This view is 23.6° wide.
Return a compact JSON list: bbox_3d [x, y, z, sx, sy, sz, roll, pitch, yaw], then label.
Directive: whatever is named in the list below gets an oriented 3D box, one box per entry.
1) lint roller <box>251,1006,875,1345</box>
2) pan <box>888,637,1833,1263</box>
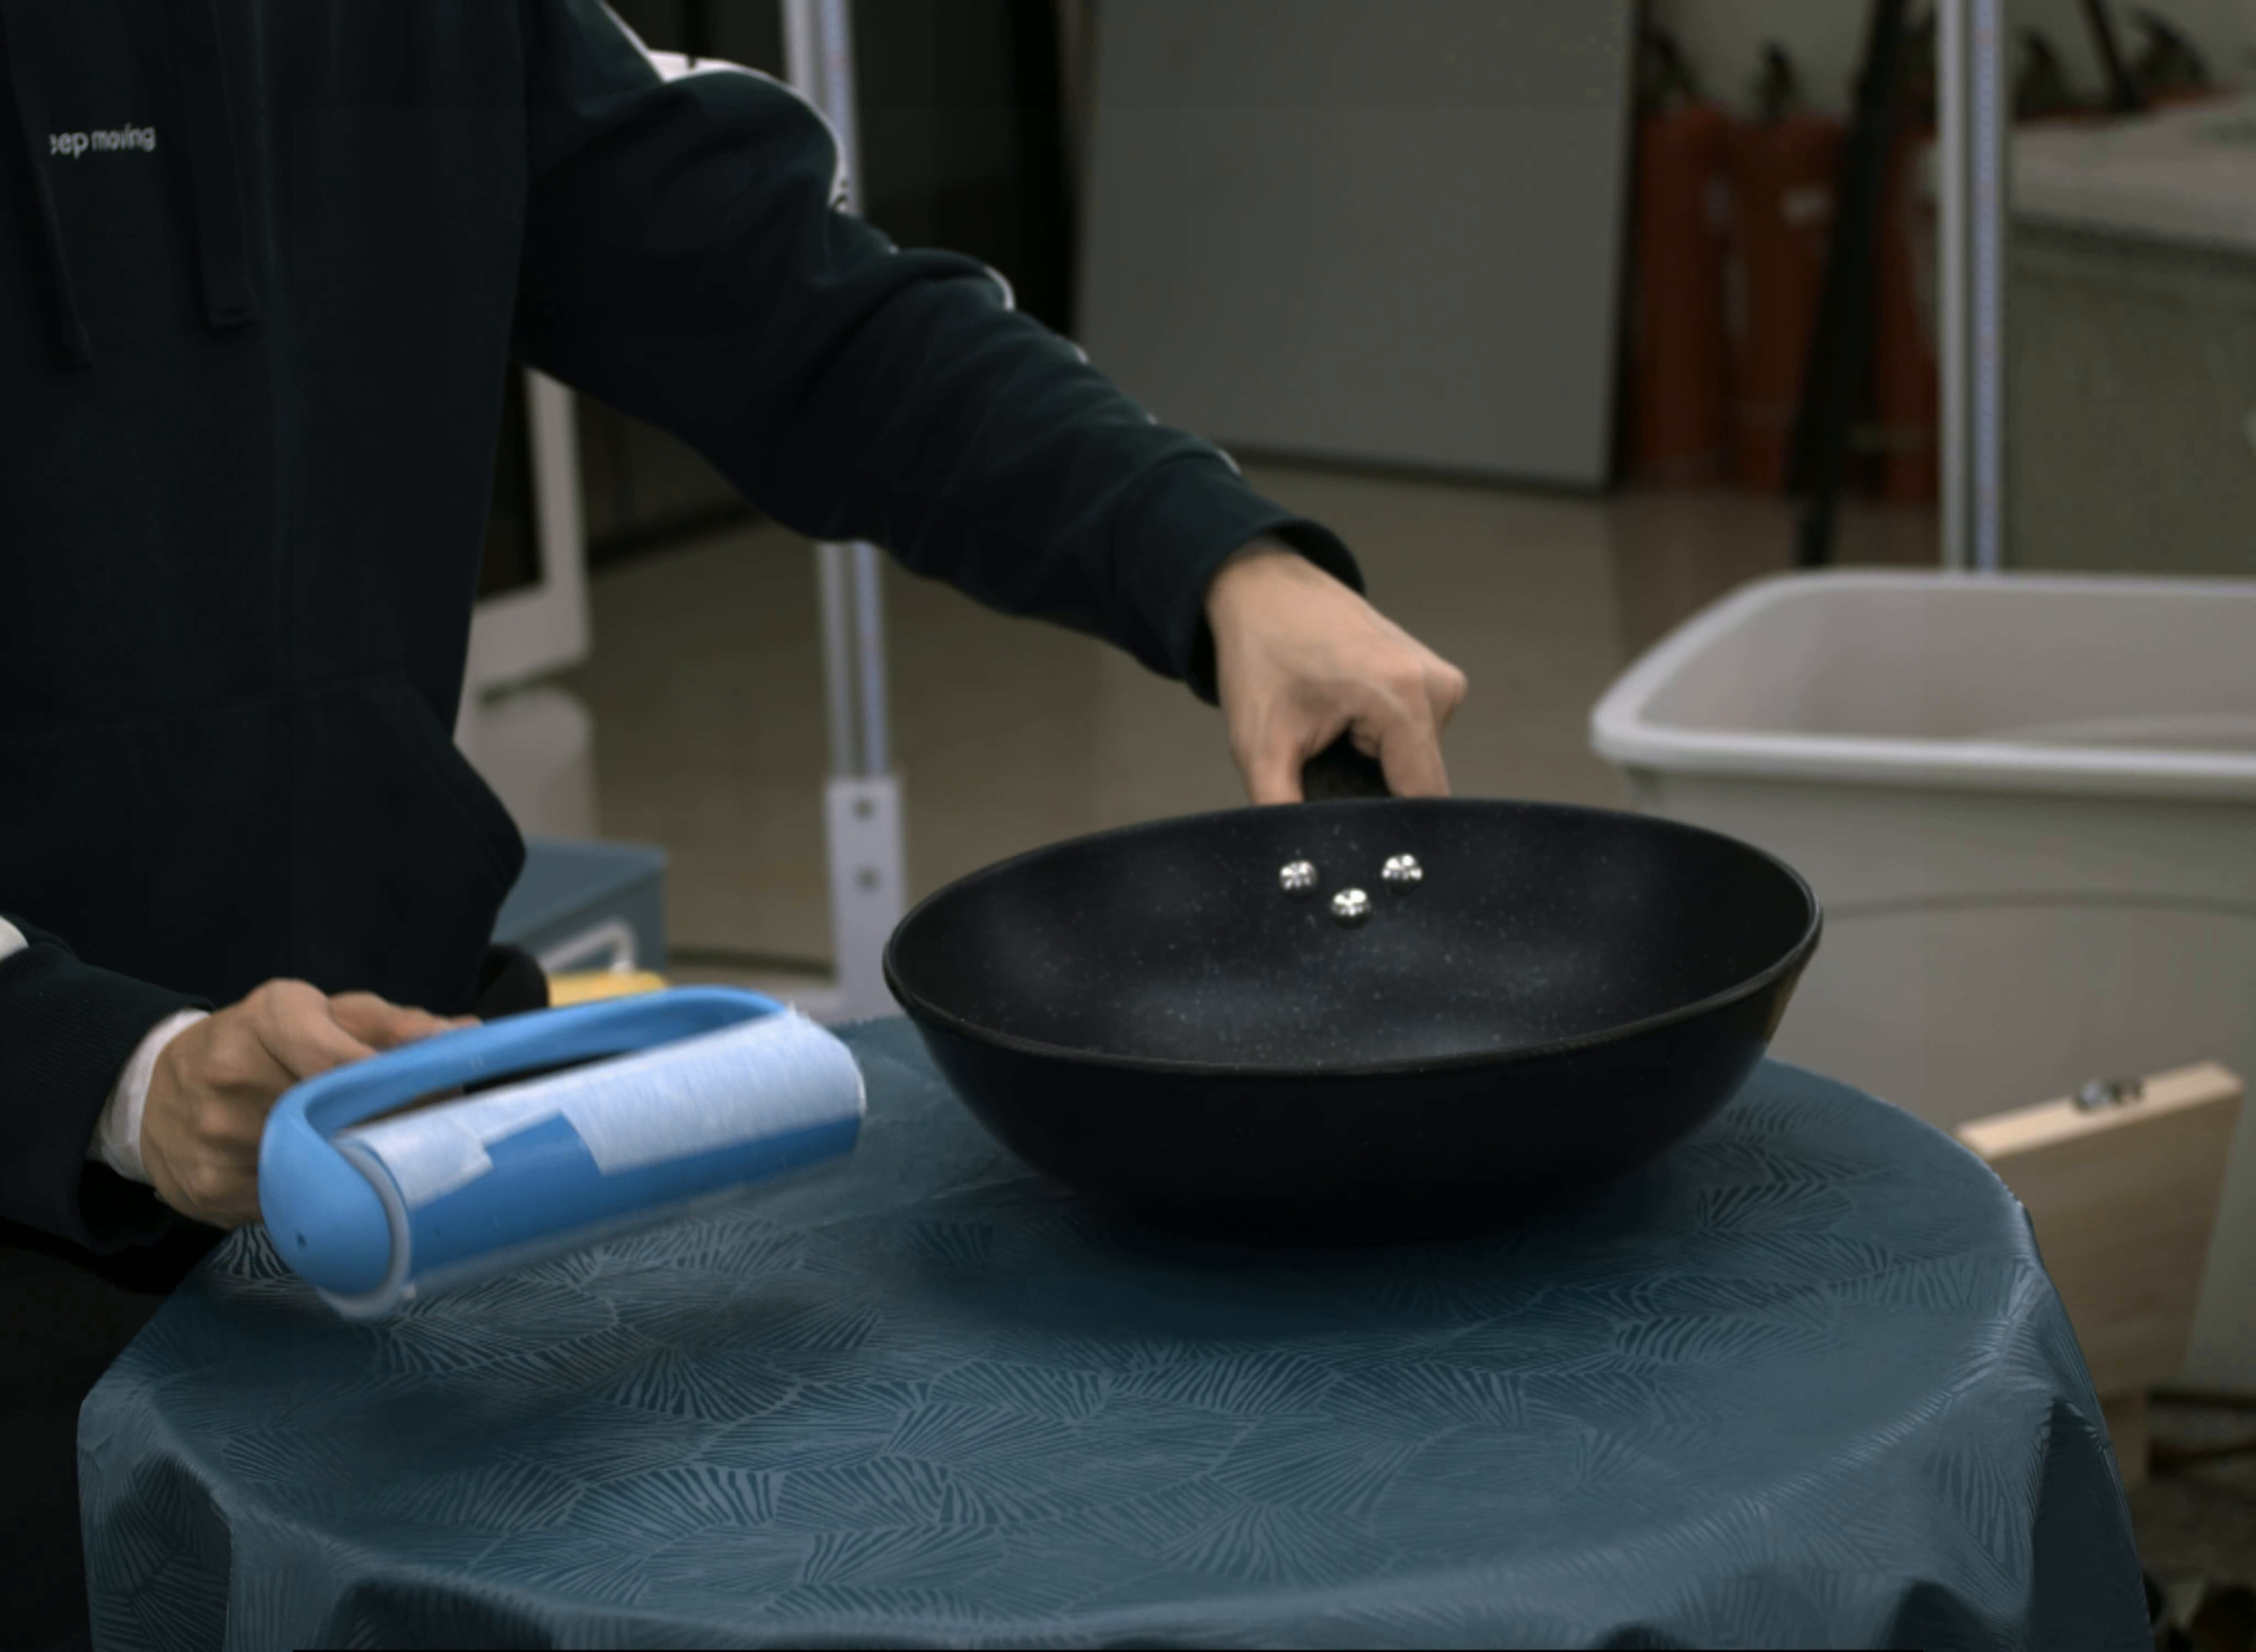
[{"bbox_3d":[-0.204,0.101,1.646,0.181,0.069,0.225,4,13,37],"label":"lint roller"},{"bbox_3d":[0.078,0.043,1.838,0.307,0.113,0.477,-2,15,3],"label":"pan"}]
